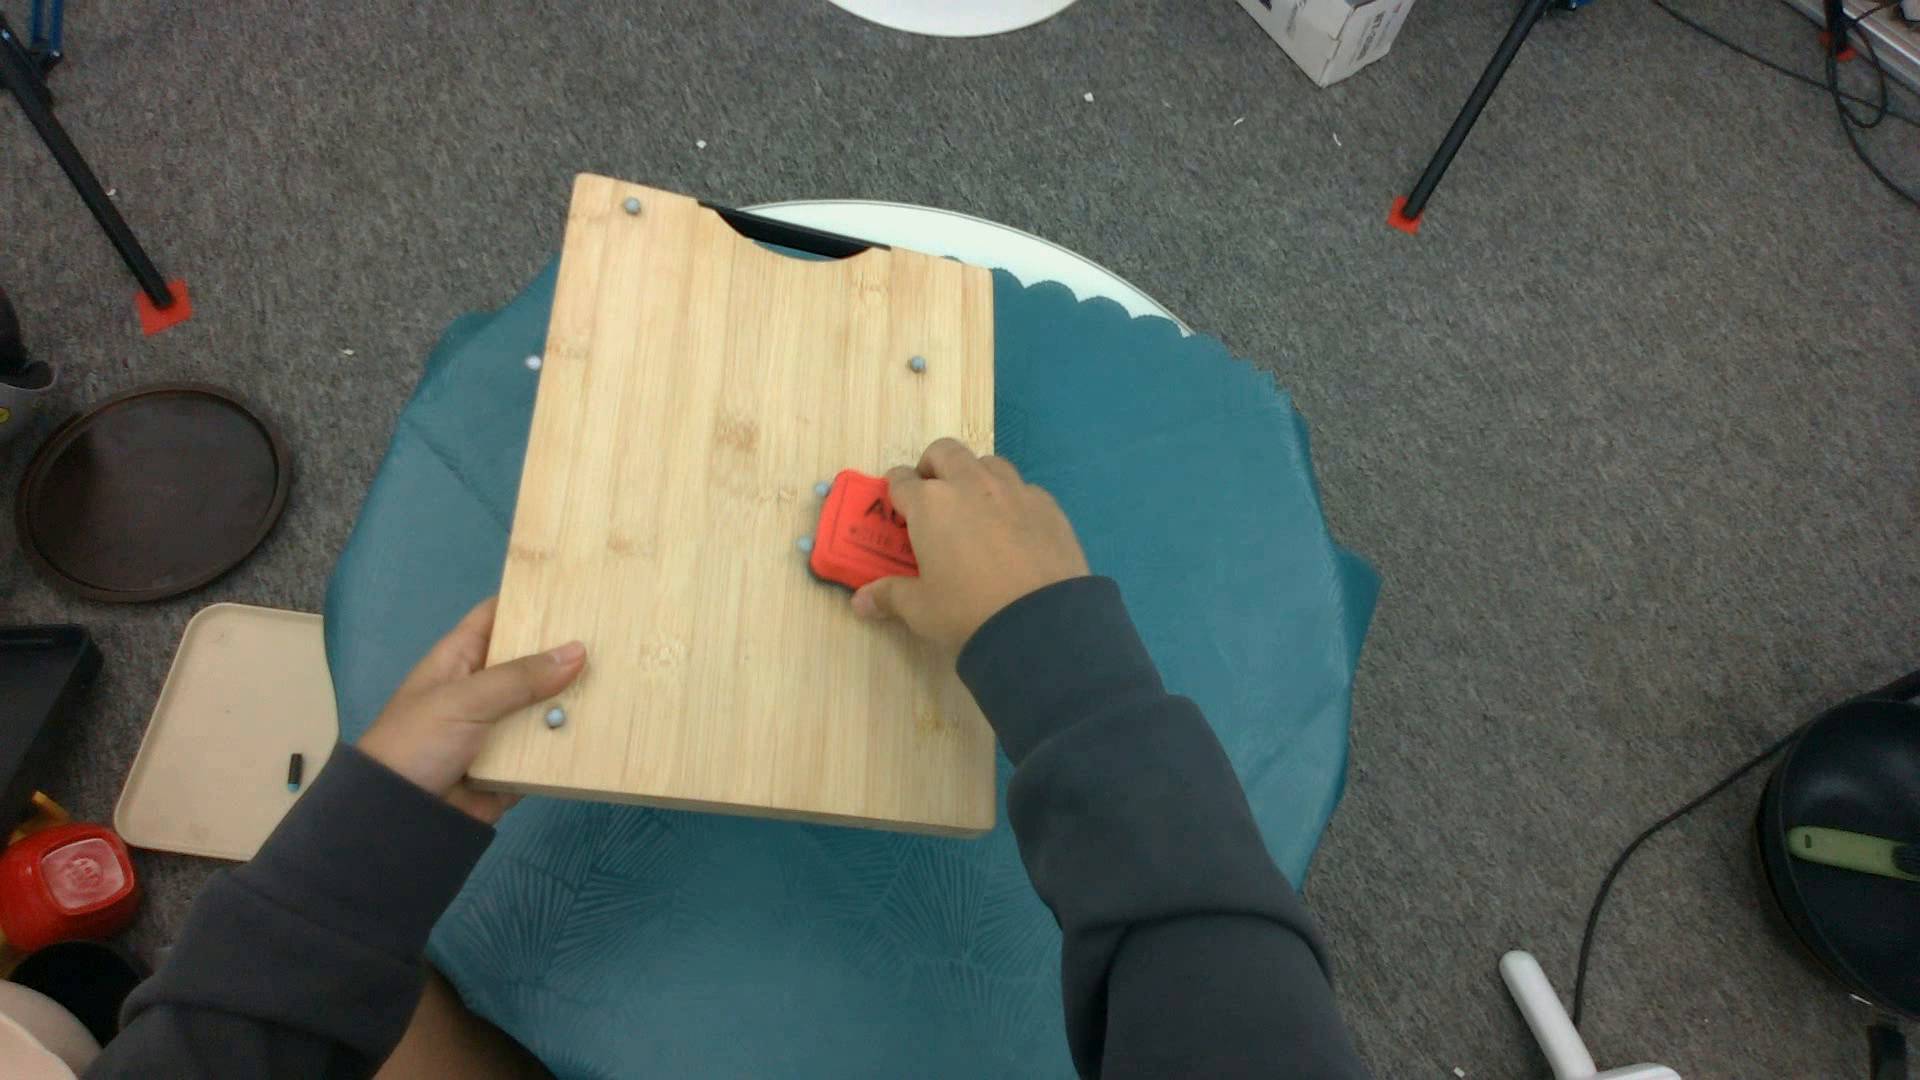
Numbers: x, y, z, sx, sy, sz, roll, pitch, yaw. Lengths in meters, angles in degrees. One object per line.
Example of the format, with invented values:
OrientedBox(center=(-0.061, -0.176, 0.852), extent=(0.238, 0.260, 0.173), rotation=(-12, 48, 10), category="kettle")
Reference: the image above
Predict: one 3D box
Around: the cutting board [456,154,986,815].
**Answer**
OrientedBox(center=(-0.102, -0.038, 0.711), extent=(0.251, 0.023, 0.350), rotation=(9, 60, -18), category="cutting board")

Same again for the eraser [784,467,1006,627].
OrientedBox(center=(-0.031, 0.004, 0.691), extent=(0.108, 0.023, 0.059), rotation=(16, 54, -14), category="eraser")
